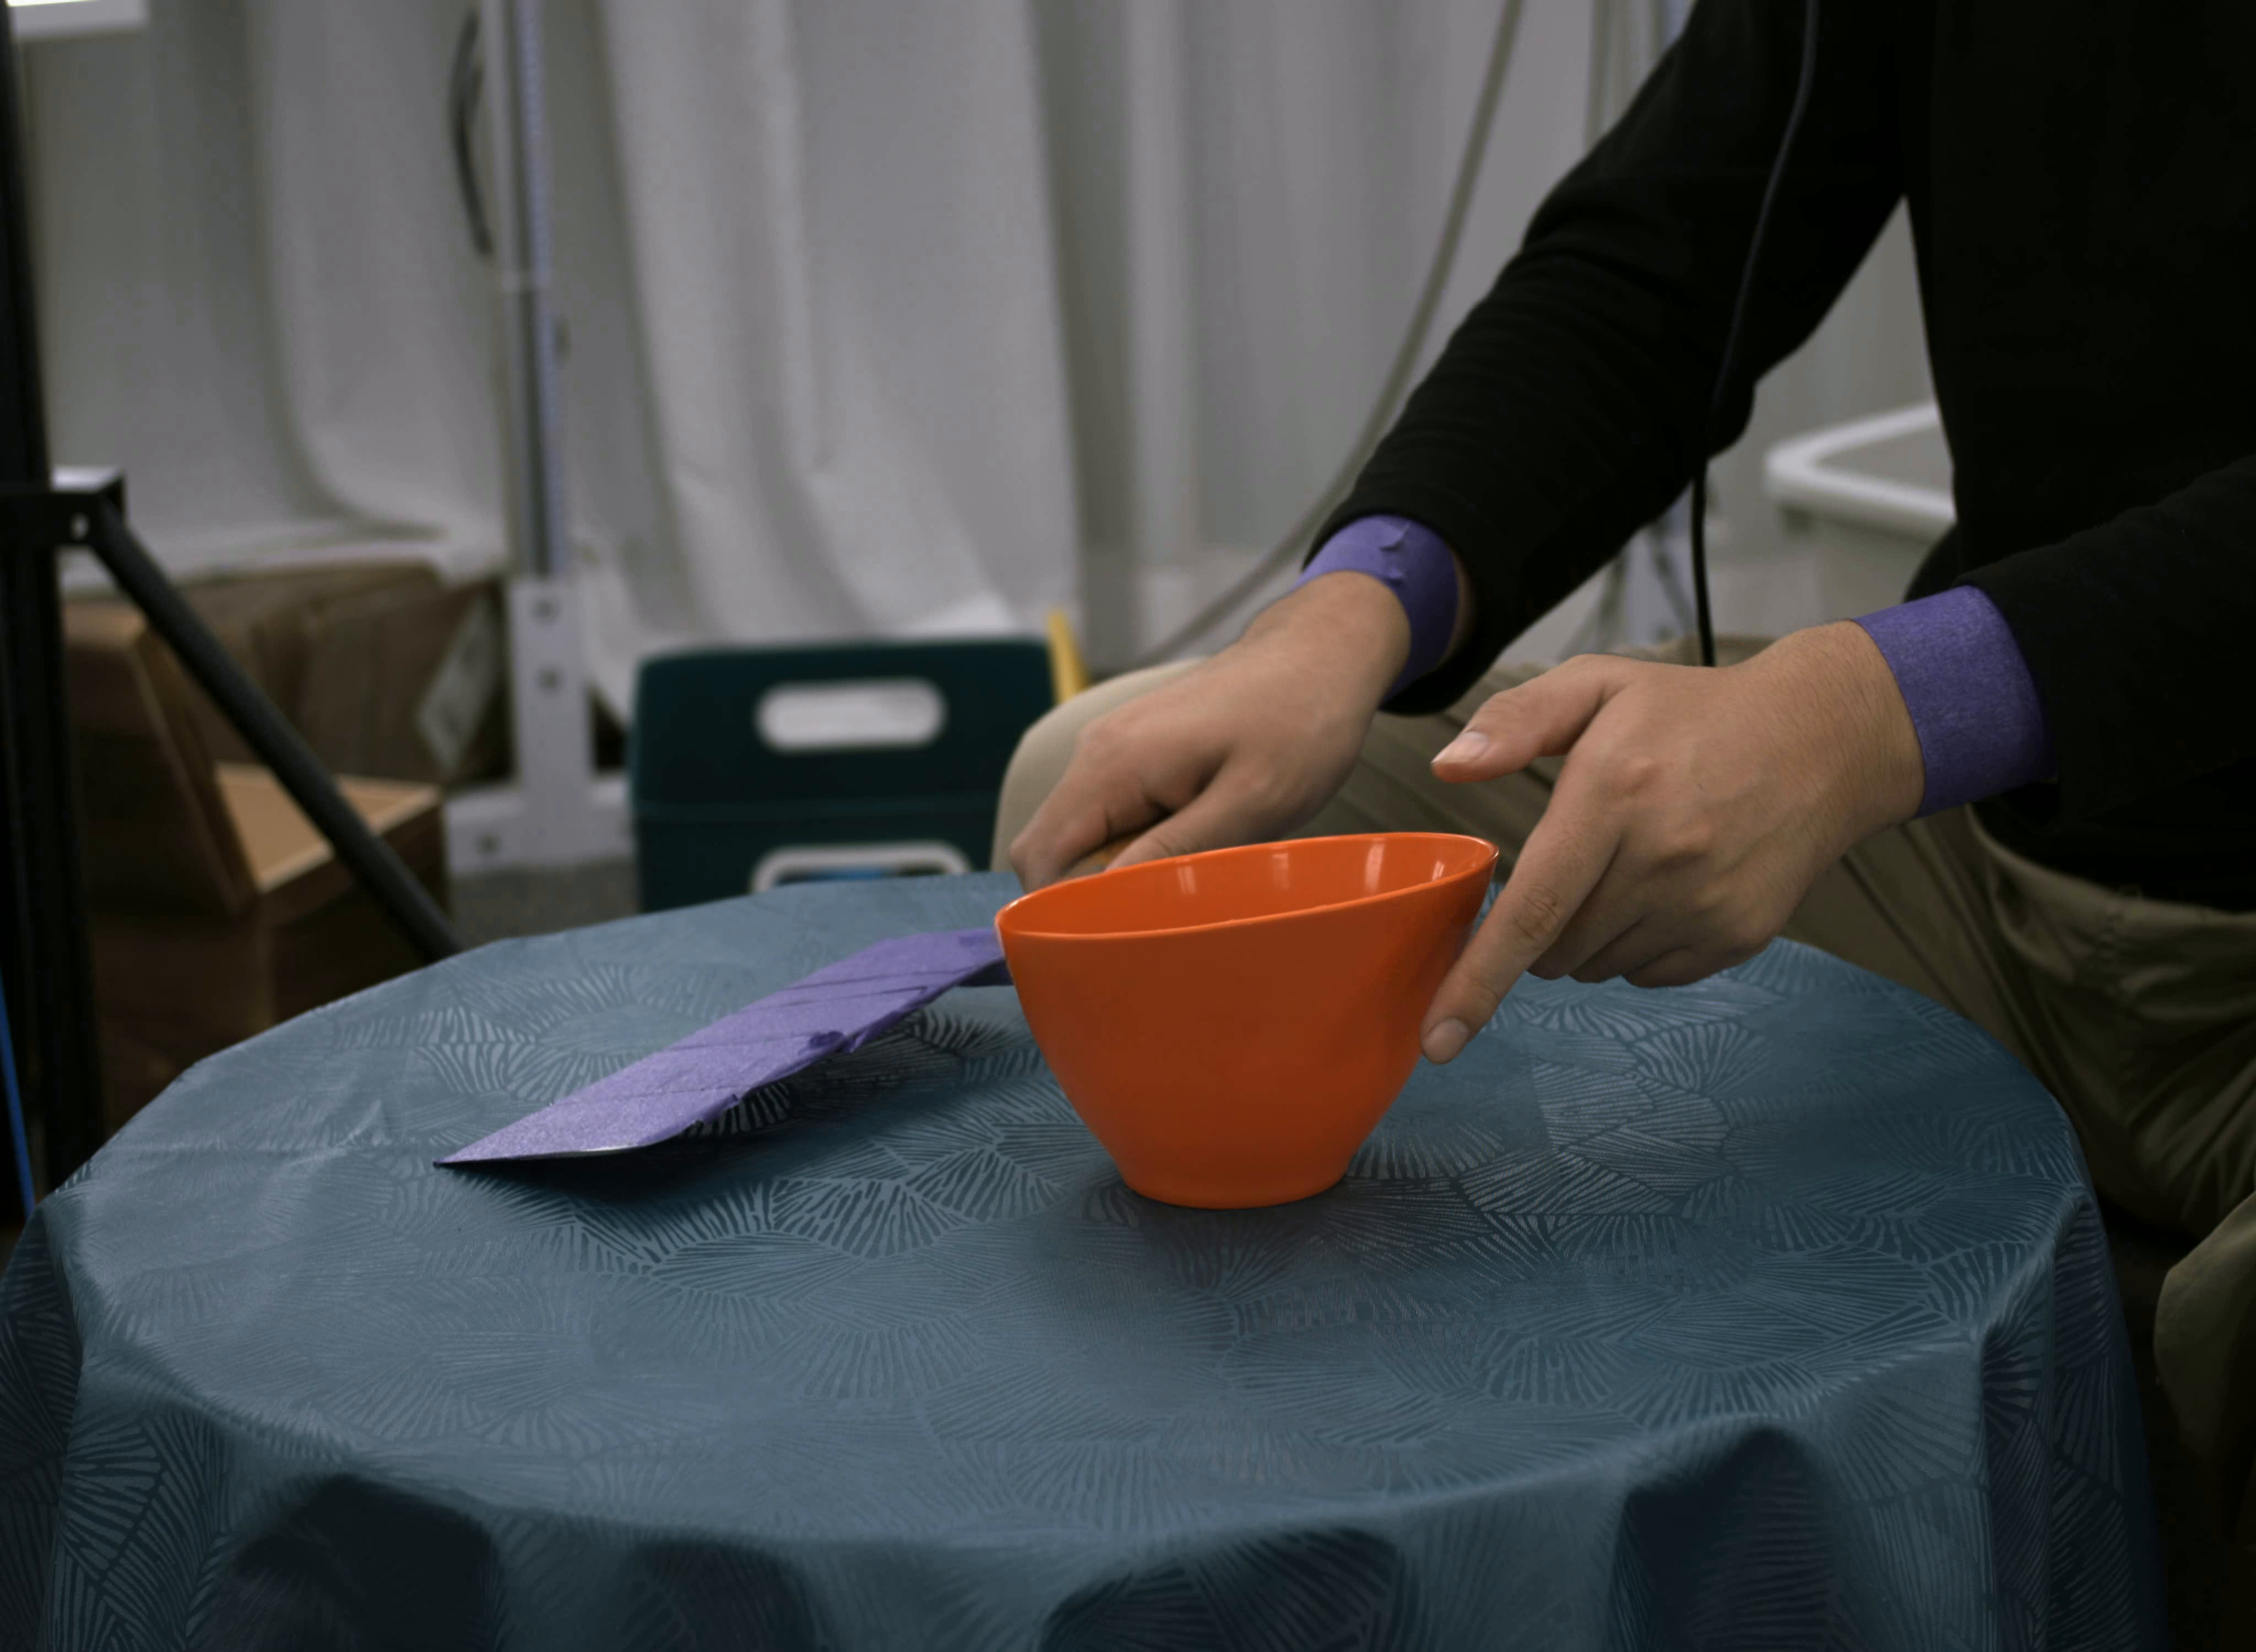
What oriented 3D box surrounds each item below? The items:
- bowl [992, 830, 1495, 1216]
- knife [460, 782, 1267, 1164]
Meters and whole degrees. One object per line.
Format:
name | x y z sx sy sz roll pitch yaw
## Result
bowl | 0.035 0.057 1.545 0.147 0.104 0.149 -4 16 0
knife | -0.081 0.045 1.684 0.106 0.032 0.309 -6 12 42
